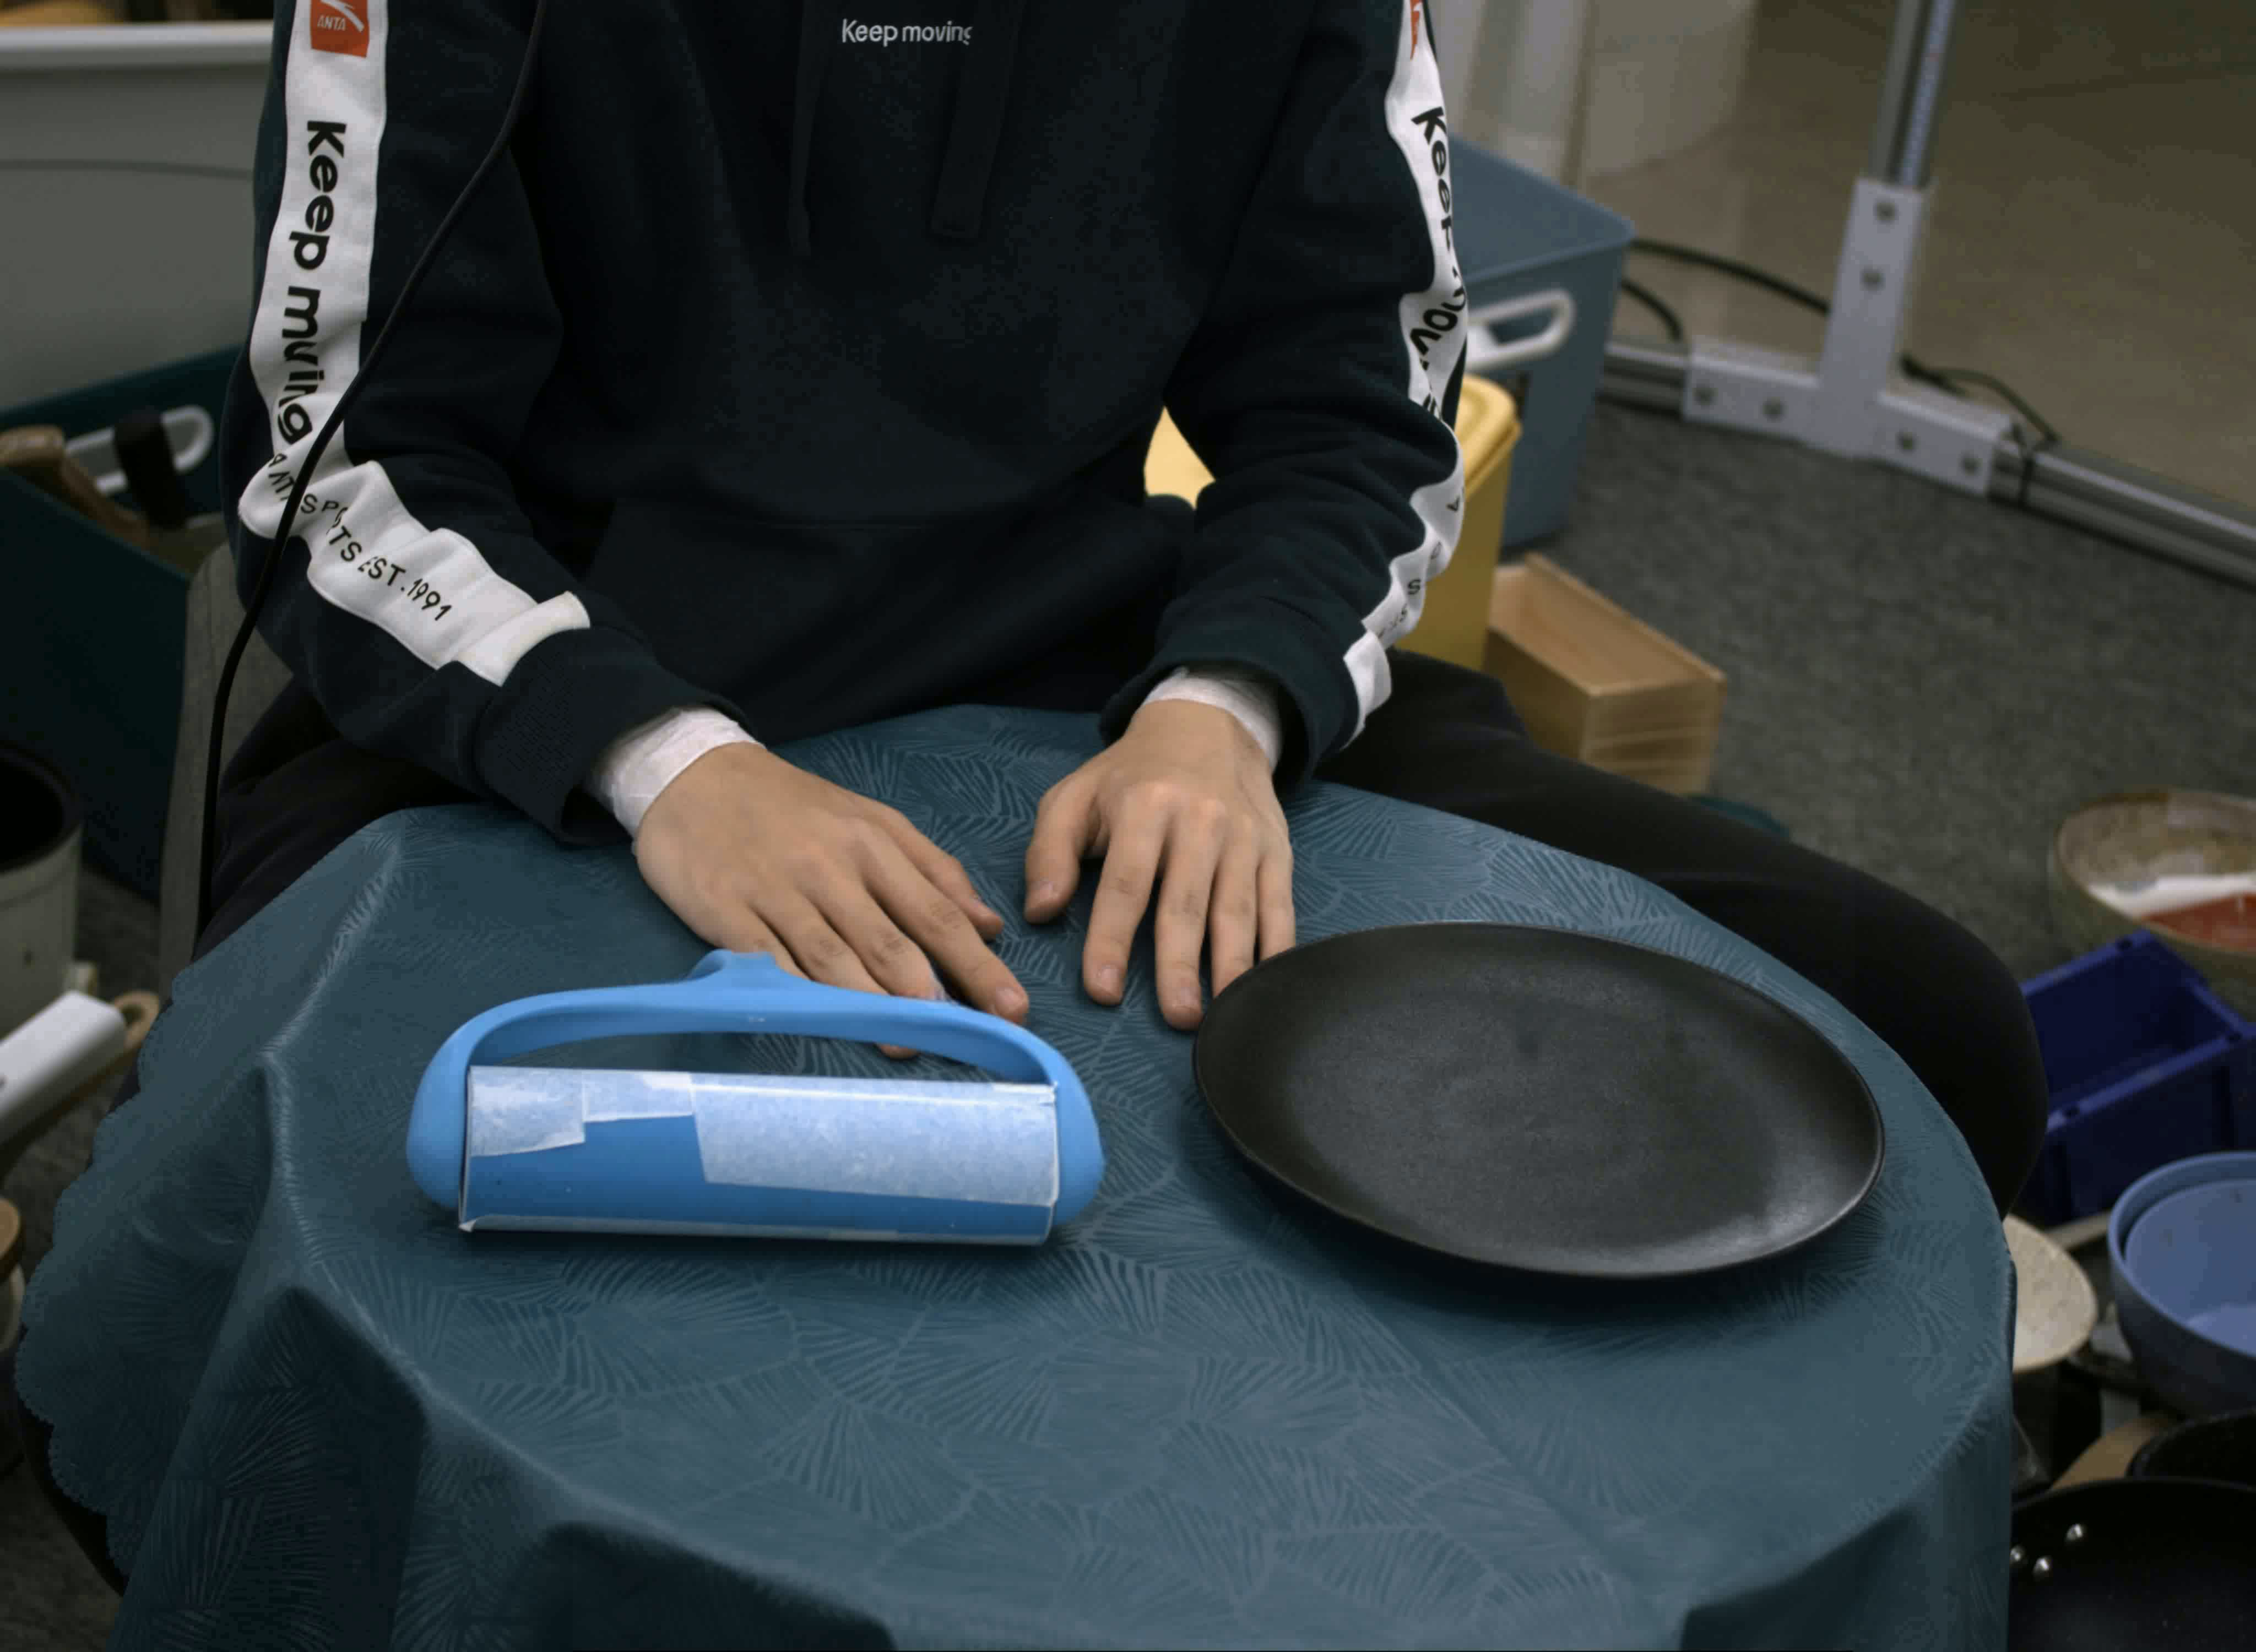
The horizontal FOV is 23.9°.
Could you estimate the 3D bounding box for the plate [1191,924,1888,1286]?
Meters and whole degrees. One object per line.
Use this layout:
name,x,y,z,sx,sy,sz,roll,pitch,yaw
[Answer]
plate,0.142,0.101,1.849,0.243,0.023,0.246,5,27,-3

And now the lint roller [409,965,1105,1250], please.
lint roller,-0.130,0.081,1.792,0.228,0.068,0.181,0,27,-10
